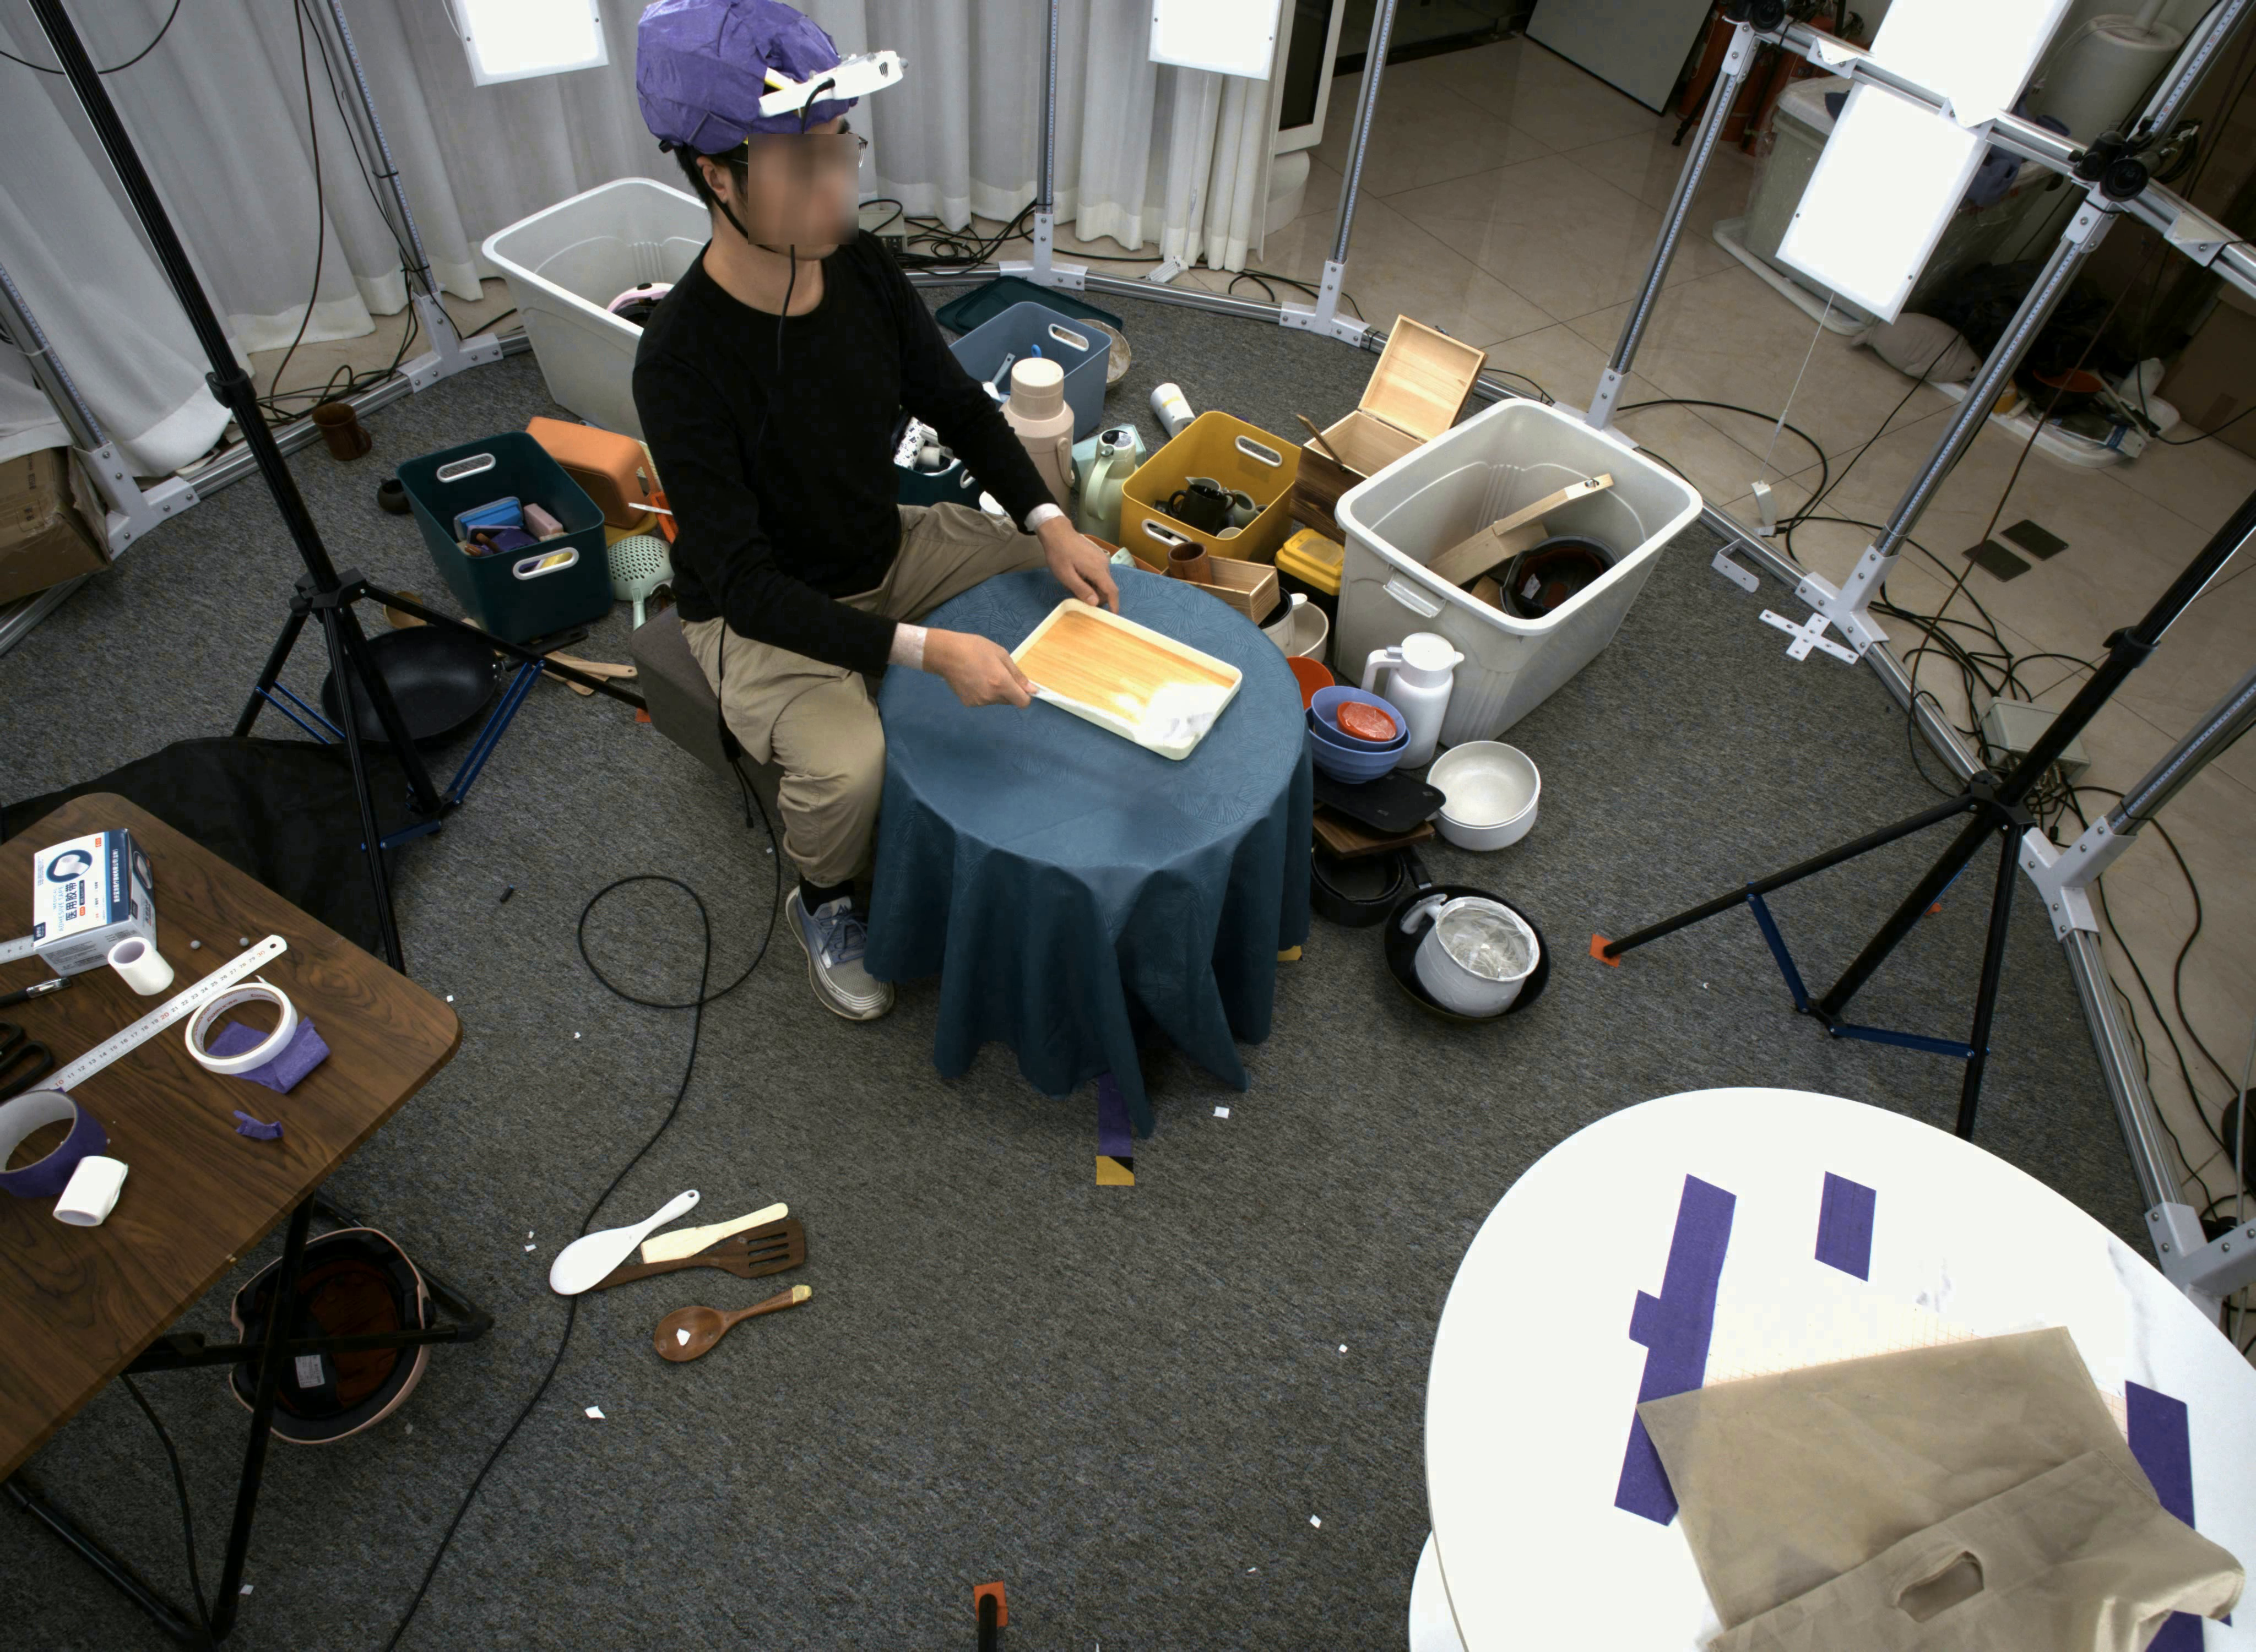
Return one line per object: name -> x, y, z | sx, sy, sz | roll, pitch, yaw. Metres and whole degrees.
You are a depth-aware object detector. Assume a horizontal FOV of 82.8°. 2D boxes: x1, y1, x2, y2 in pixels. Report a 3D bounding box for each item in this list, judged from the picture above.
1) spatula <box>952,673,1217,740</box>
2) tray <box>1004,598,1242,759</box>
spatula -> -0.066, -0.165, 1.667 | 0.366, 0.044, 0.100 | 16, 33, 13
tray -> -0.007, -0.216, 1.839 | 0.303, 0.027, 0.194 | 26, 53, 18
